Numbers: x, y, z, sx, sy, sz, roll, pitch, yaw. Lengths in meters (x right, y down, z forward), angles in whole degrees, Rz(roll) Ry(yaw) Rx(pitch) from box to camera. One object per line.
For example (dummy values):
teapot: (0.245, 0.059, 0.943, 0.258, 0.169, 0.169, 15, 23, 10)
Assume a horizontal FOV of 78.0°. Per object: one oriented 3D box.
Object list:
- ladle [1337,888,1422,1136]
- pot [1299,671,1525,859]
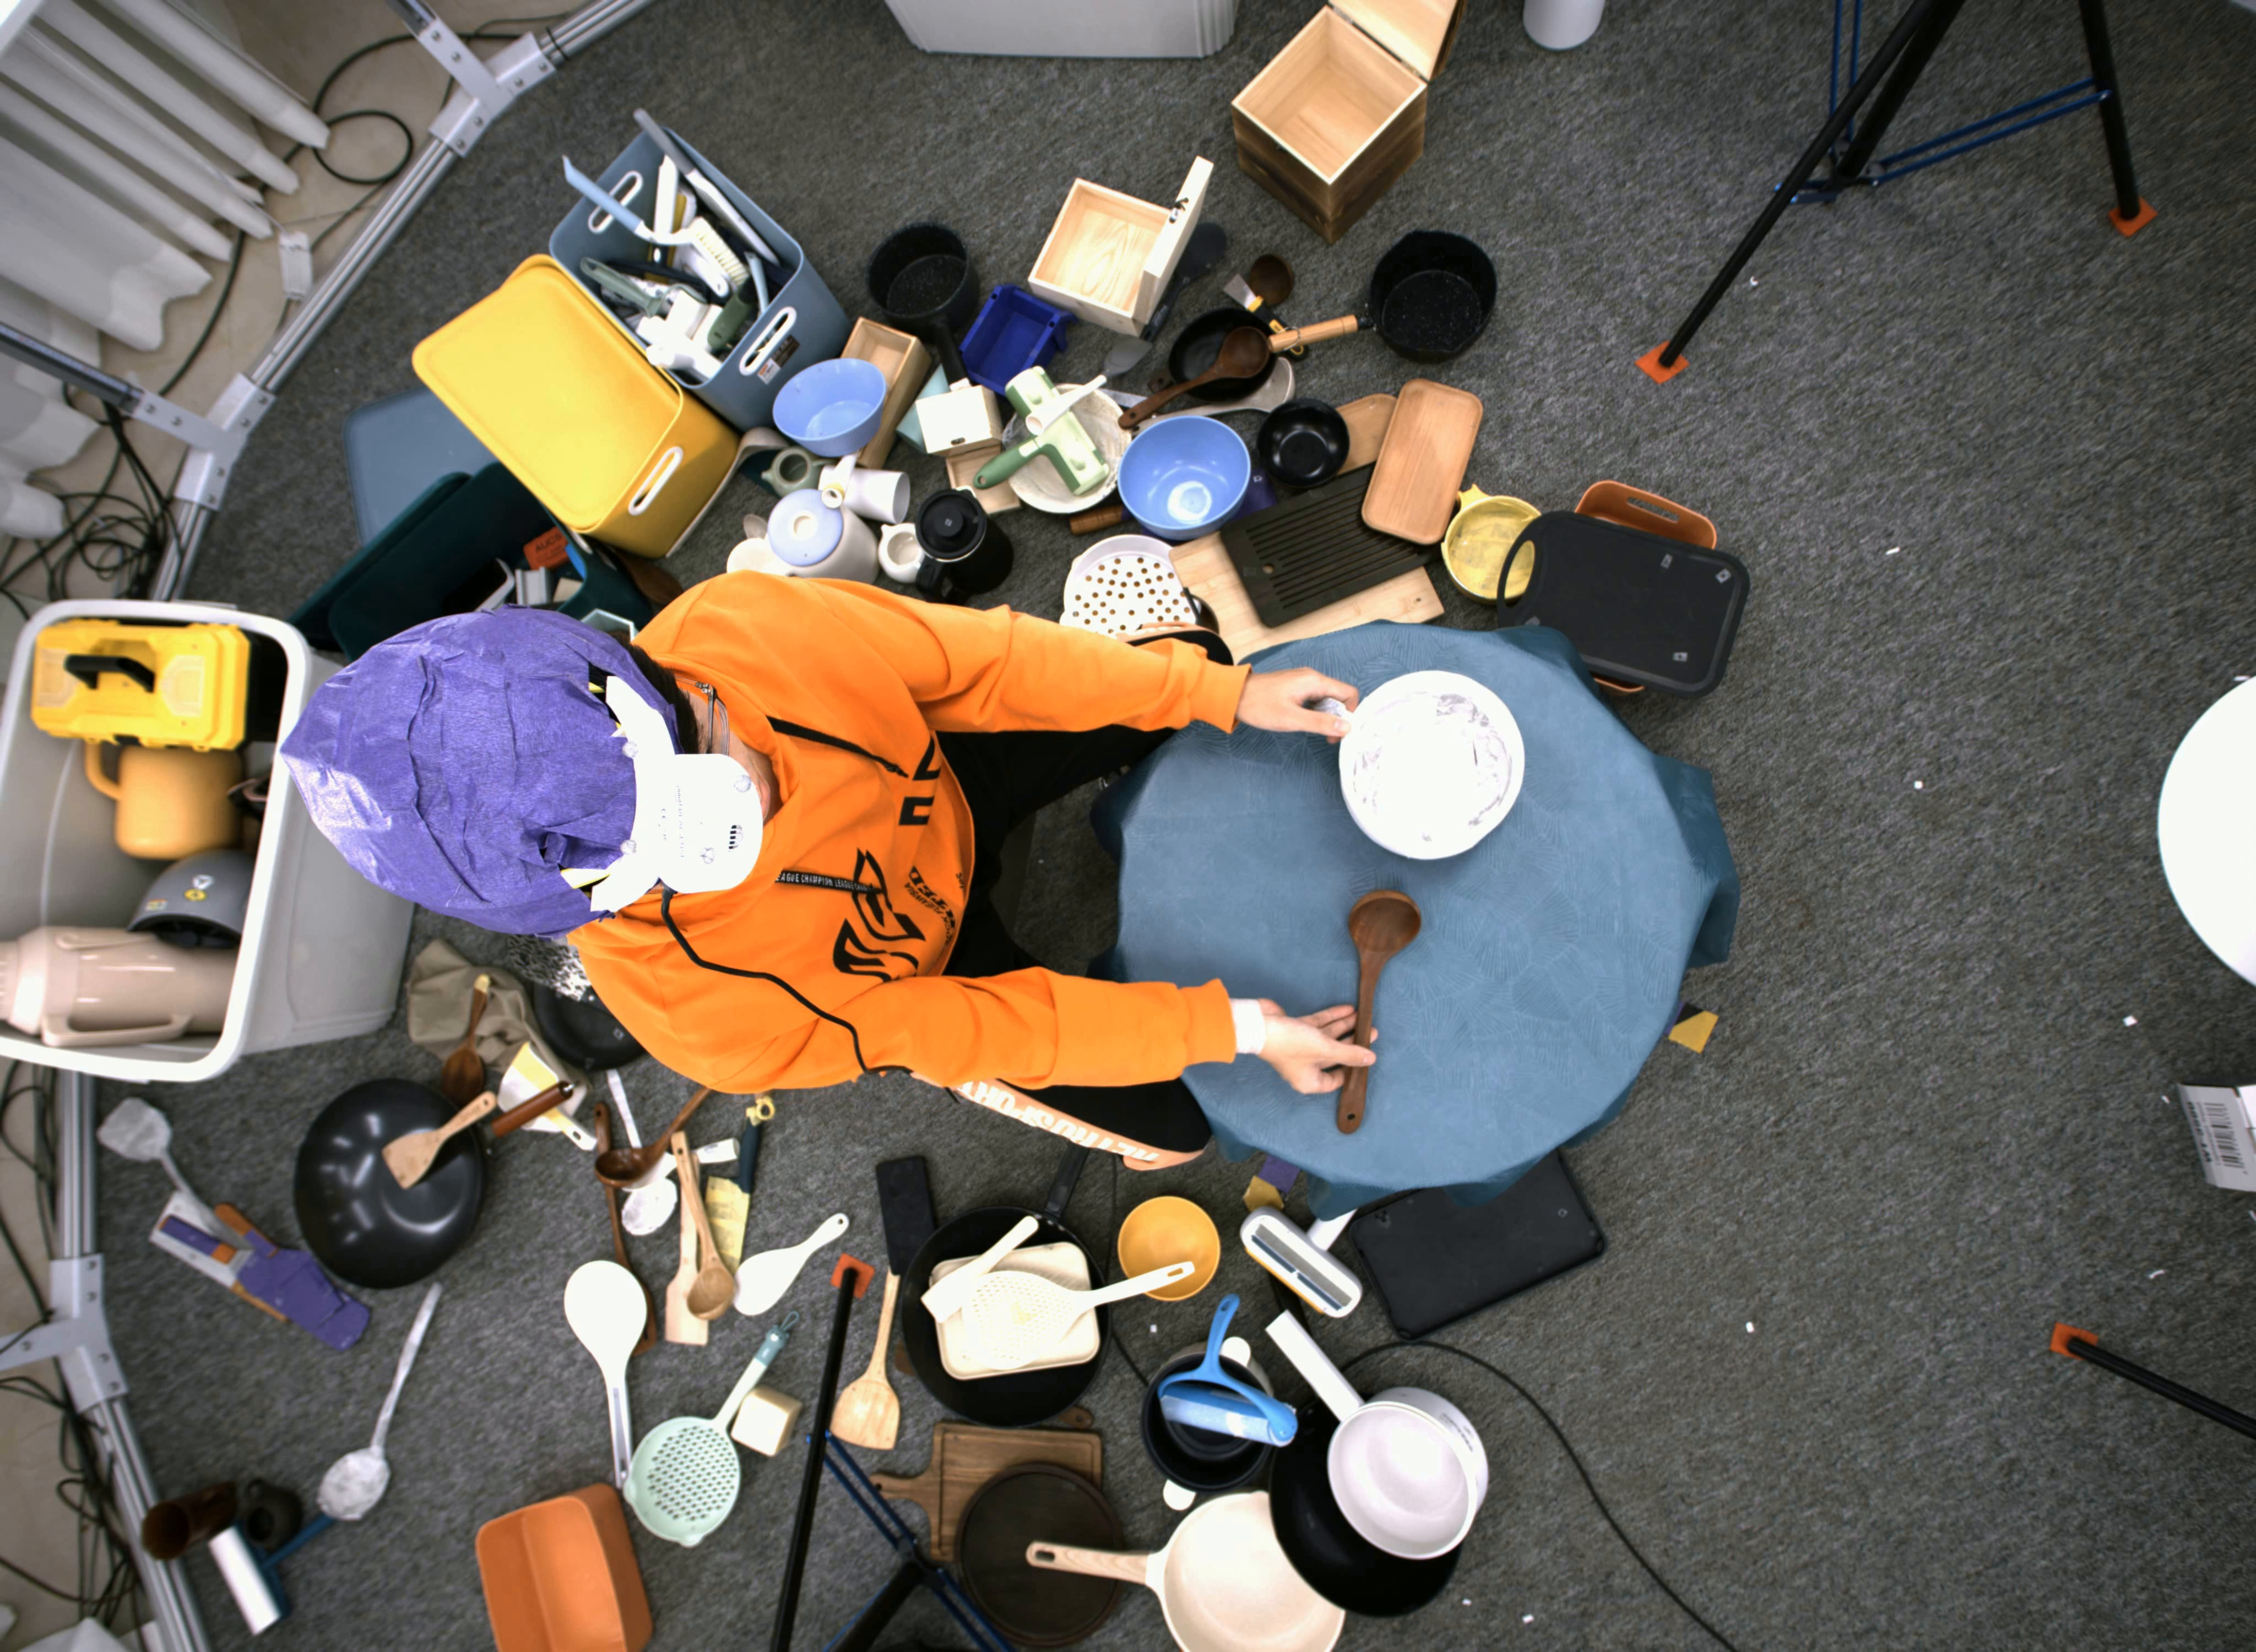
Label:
ladle: (0.249, 0.192, 1.425, 0.076, 0.065, 0.259, 10, 88, 4)
pot: (0.279, -0.071, 1.396, 0.233, 0.137, 0.179, 27, 90, 11)
